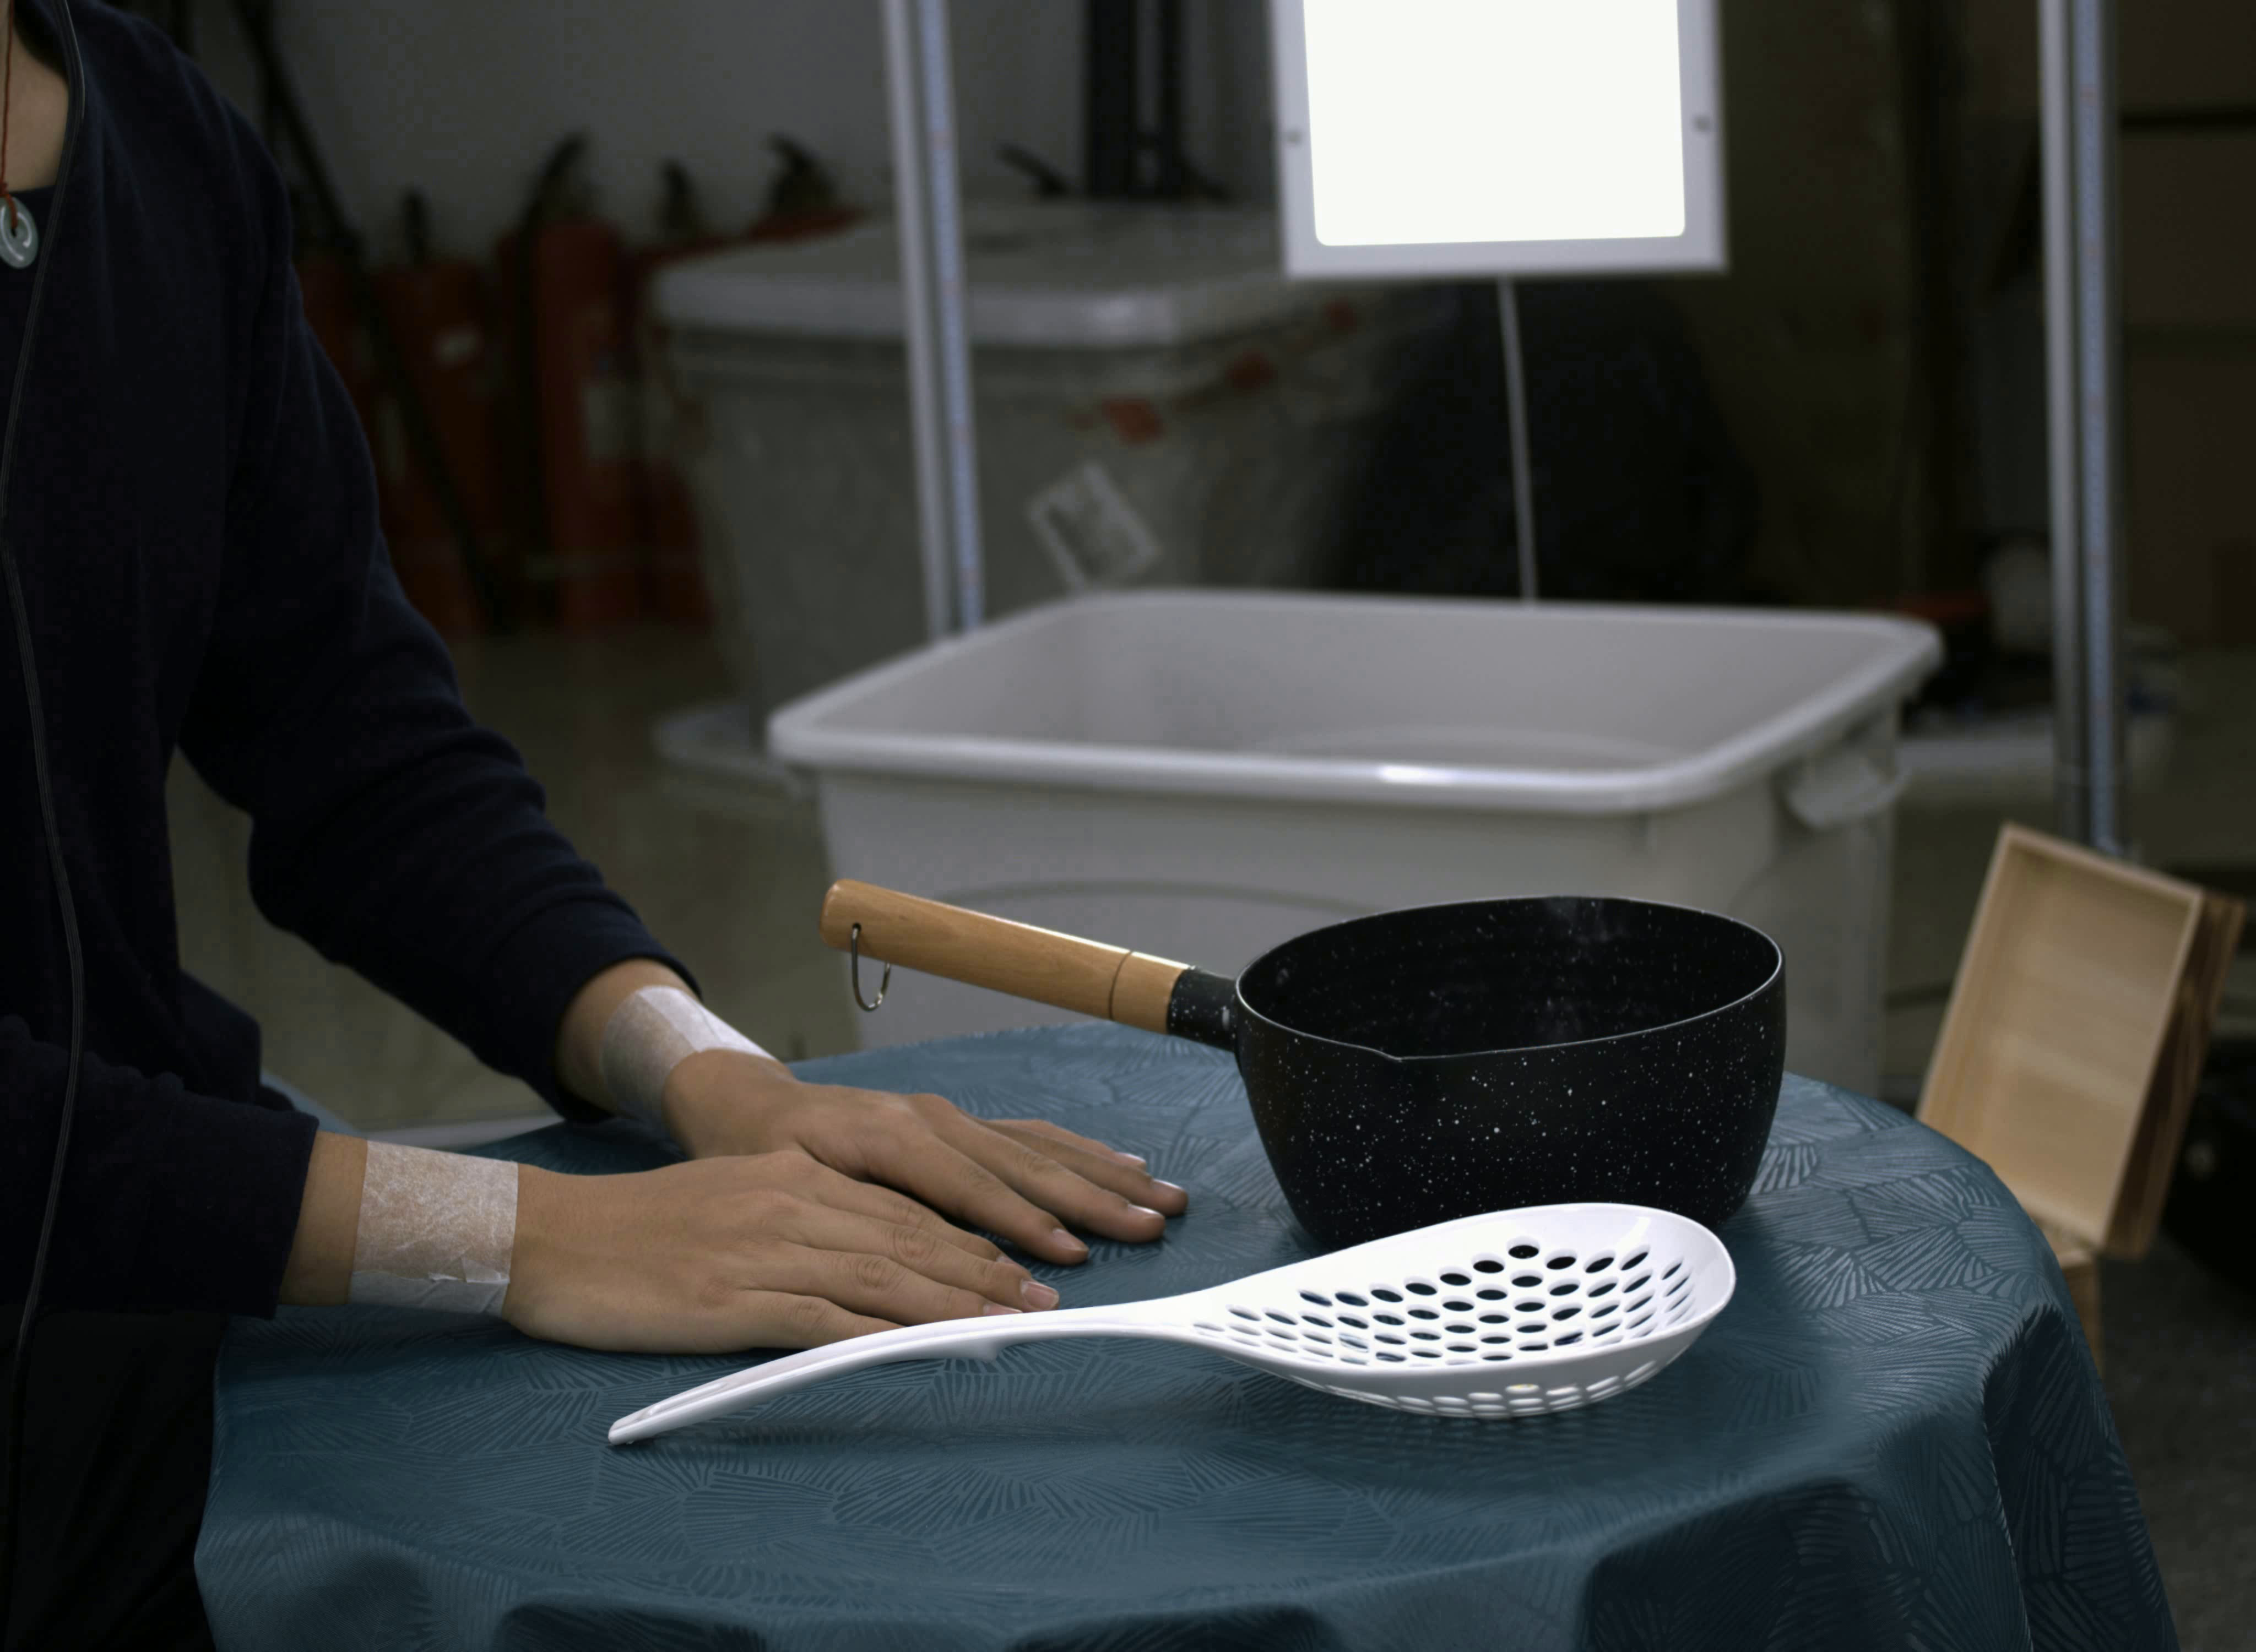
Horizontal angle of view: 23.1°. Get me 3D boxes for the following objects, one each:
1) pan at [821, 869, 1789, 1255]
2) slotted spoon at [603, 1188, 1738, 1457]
[{"bbox_3d":[0.055,0.075,1.861,0.348,0.108,0.203,2,17,22],"label":"pan"},{"bbox_3d":[0.012,0.159,1.671,0.348,0.050,0.136,-2,16,5],"label":"slotted spoon"}]
